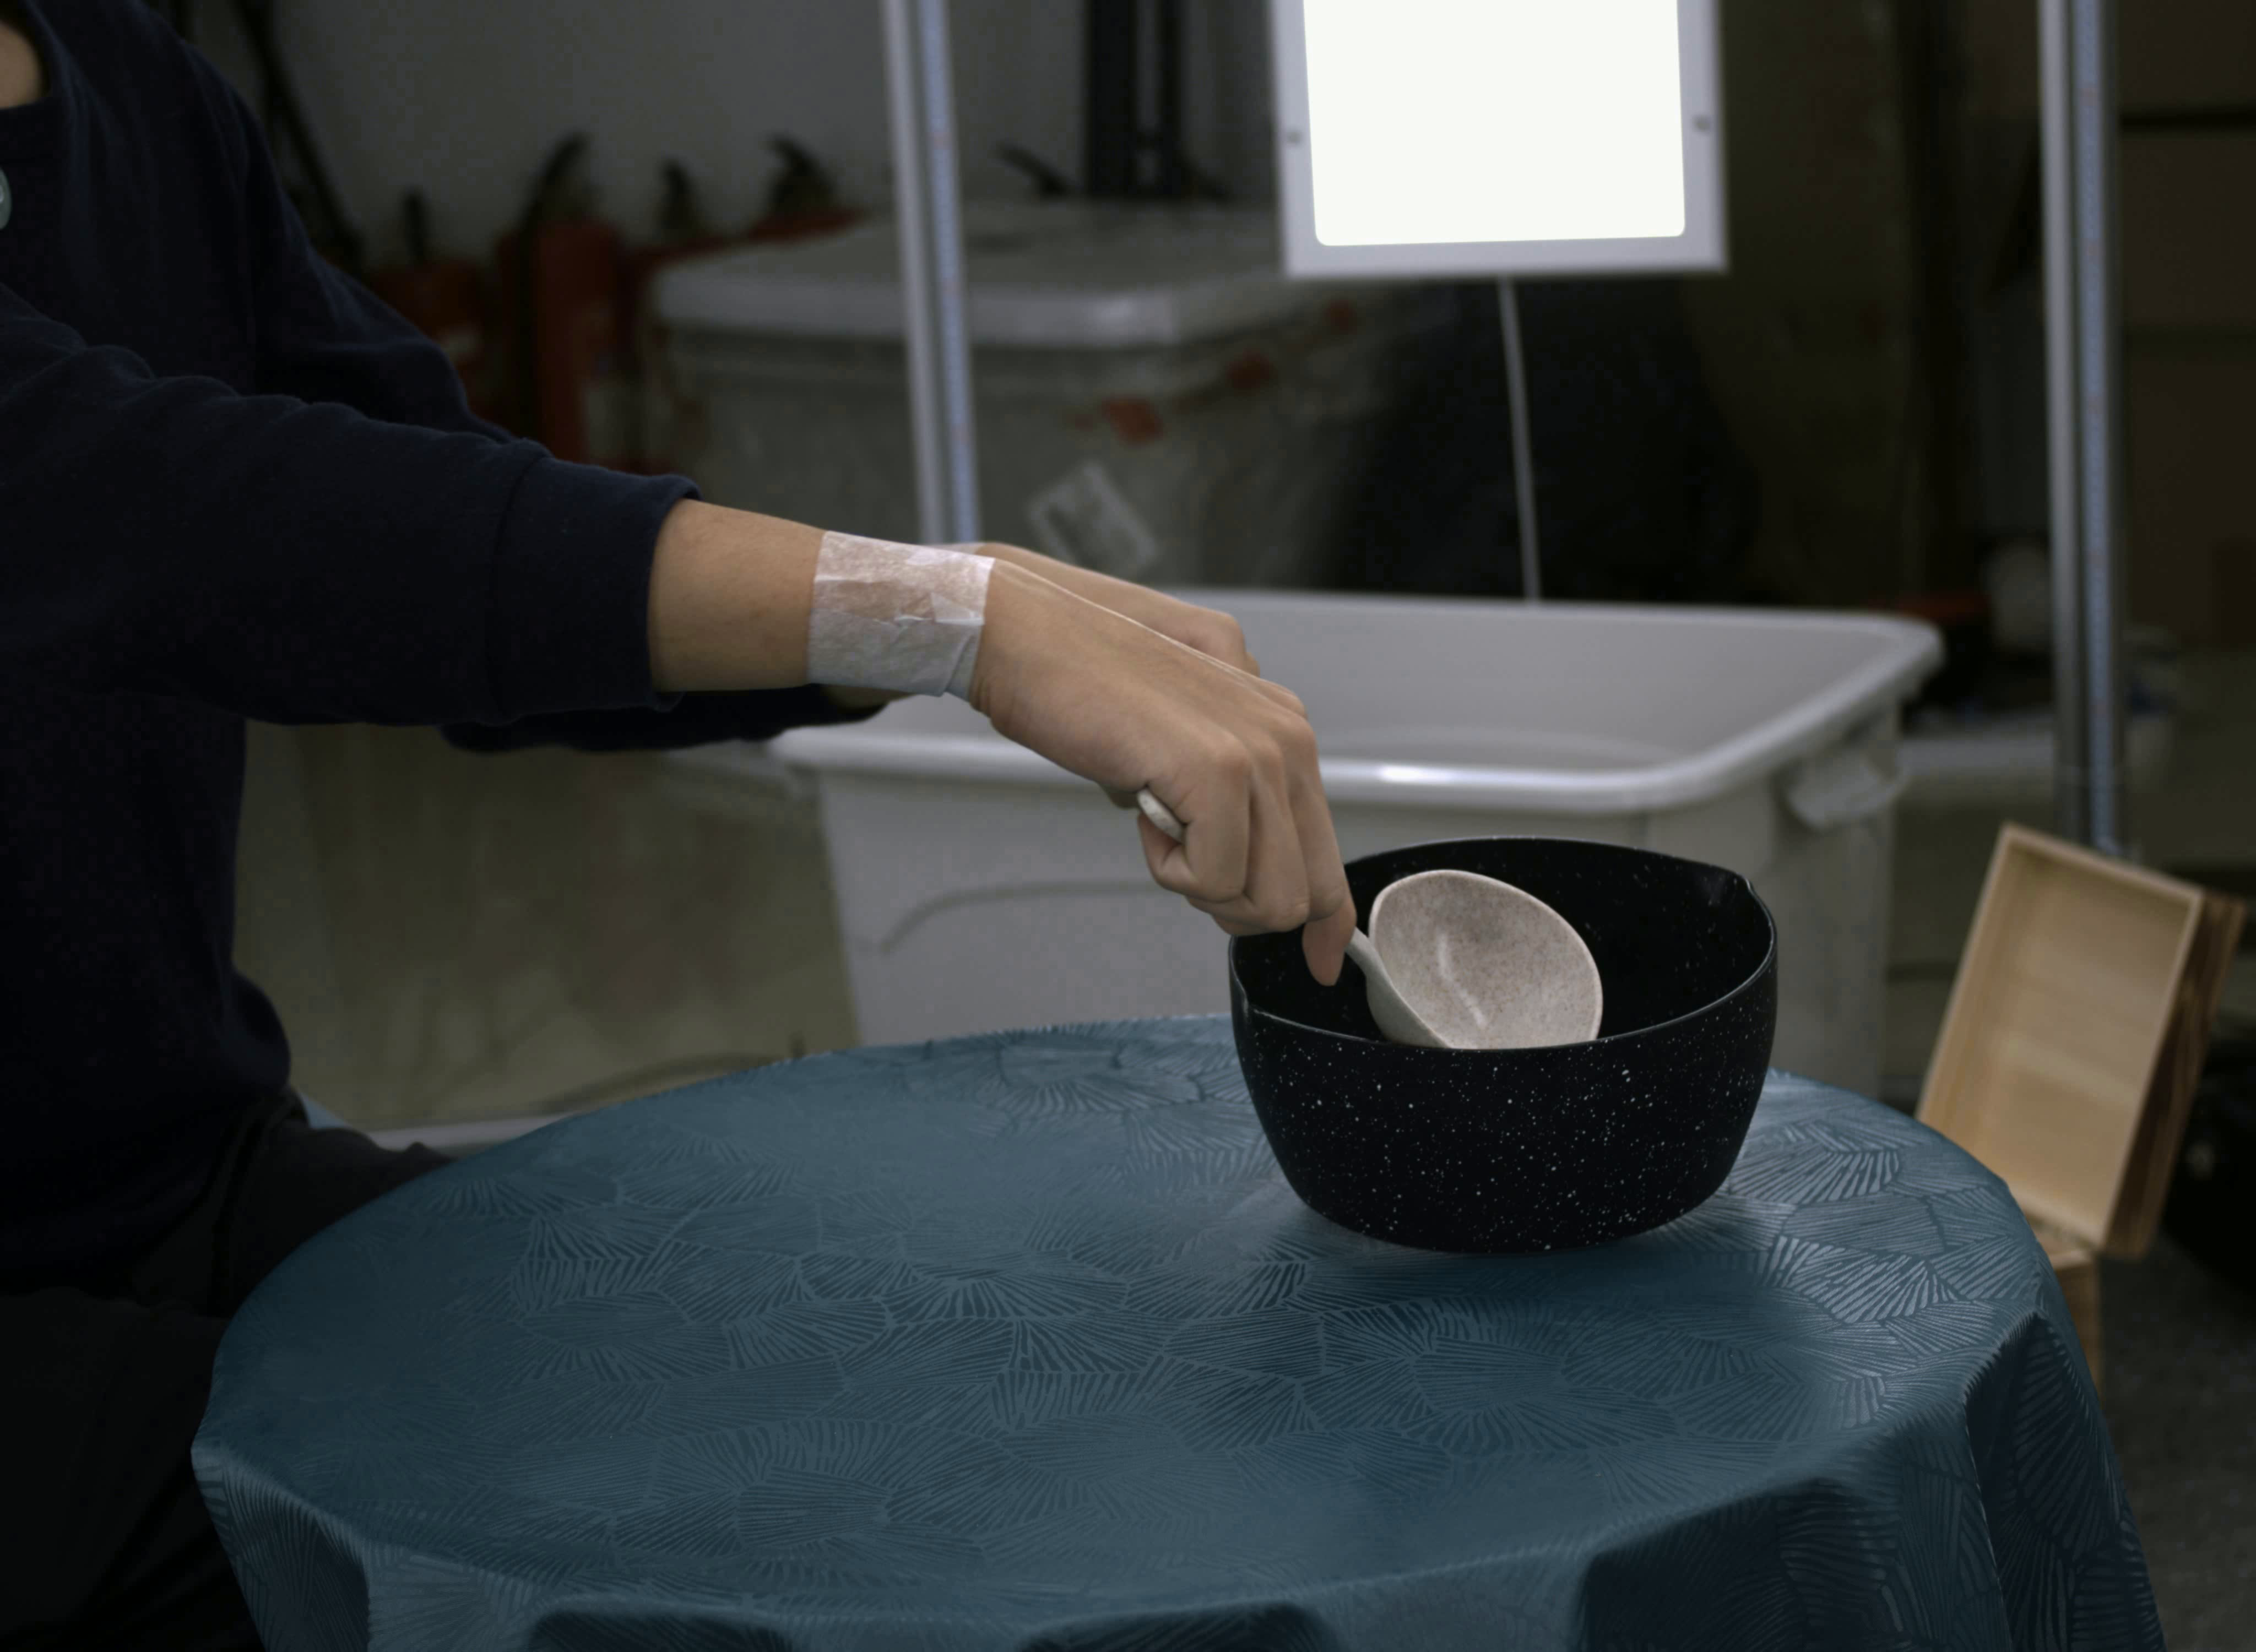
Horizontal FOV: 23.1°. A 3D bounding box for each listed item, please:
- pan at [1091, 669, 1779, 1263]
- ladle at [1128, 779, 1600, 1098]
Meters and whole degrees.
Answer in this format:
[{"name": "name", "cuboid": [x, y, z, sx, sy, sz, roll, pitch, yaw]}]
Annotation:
[{"name": "pan", "cuboid": [0.084, 0.043, 1.907, 0.203, 0.108, 0.349, -17, 26, -27]}, {"name": "ladle", "cuboid": [0.076, 0.017, 1.691, 0.070, 0.090, 0.271, -31, -26, 9]}]
